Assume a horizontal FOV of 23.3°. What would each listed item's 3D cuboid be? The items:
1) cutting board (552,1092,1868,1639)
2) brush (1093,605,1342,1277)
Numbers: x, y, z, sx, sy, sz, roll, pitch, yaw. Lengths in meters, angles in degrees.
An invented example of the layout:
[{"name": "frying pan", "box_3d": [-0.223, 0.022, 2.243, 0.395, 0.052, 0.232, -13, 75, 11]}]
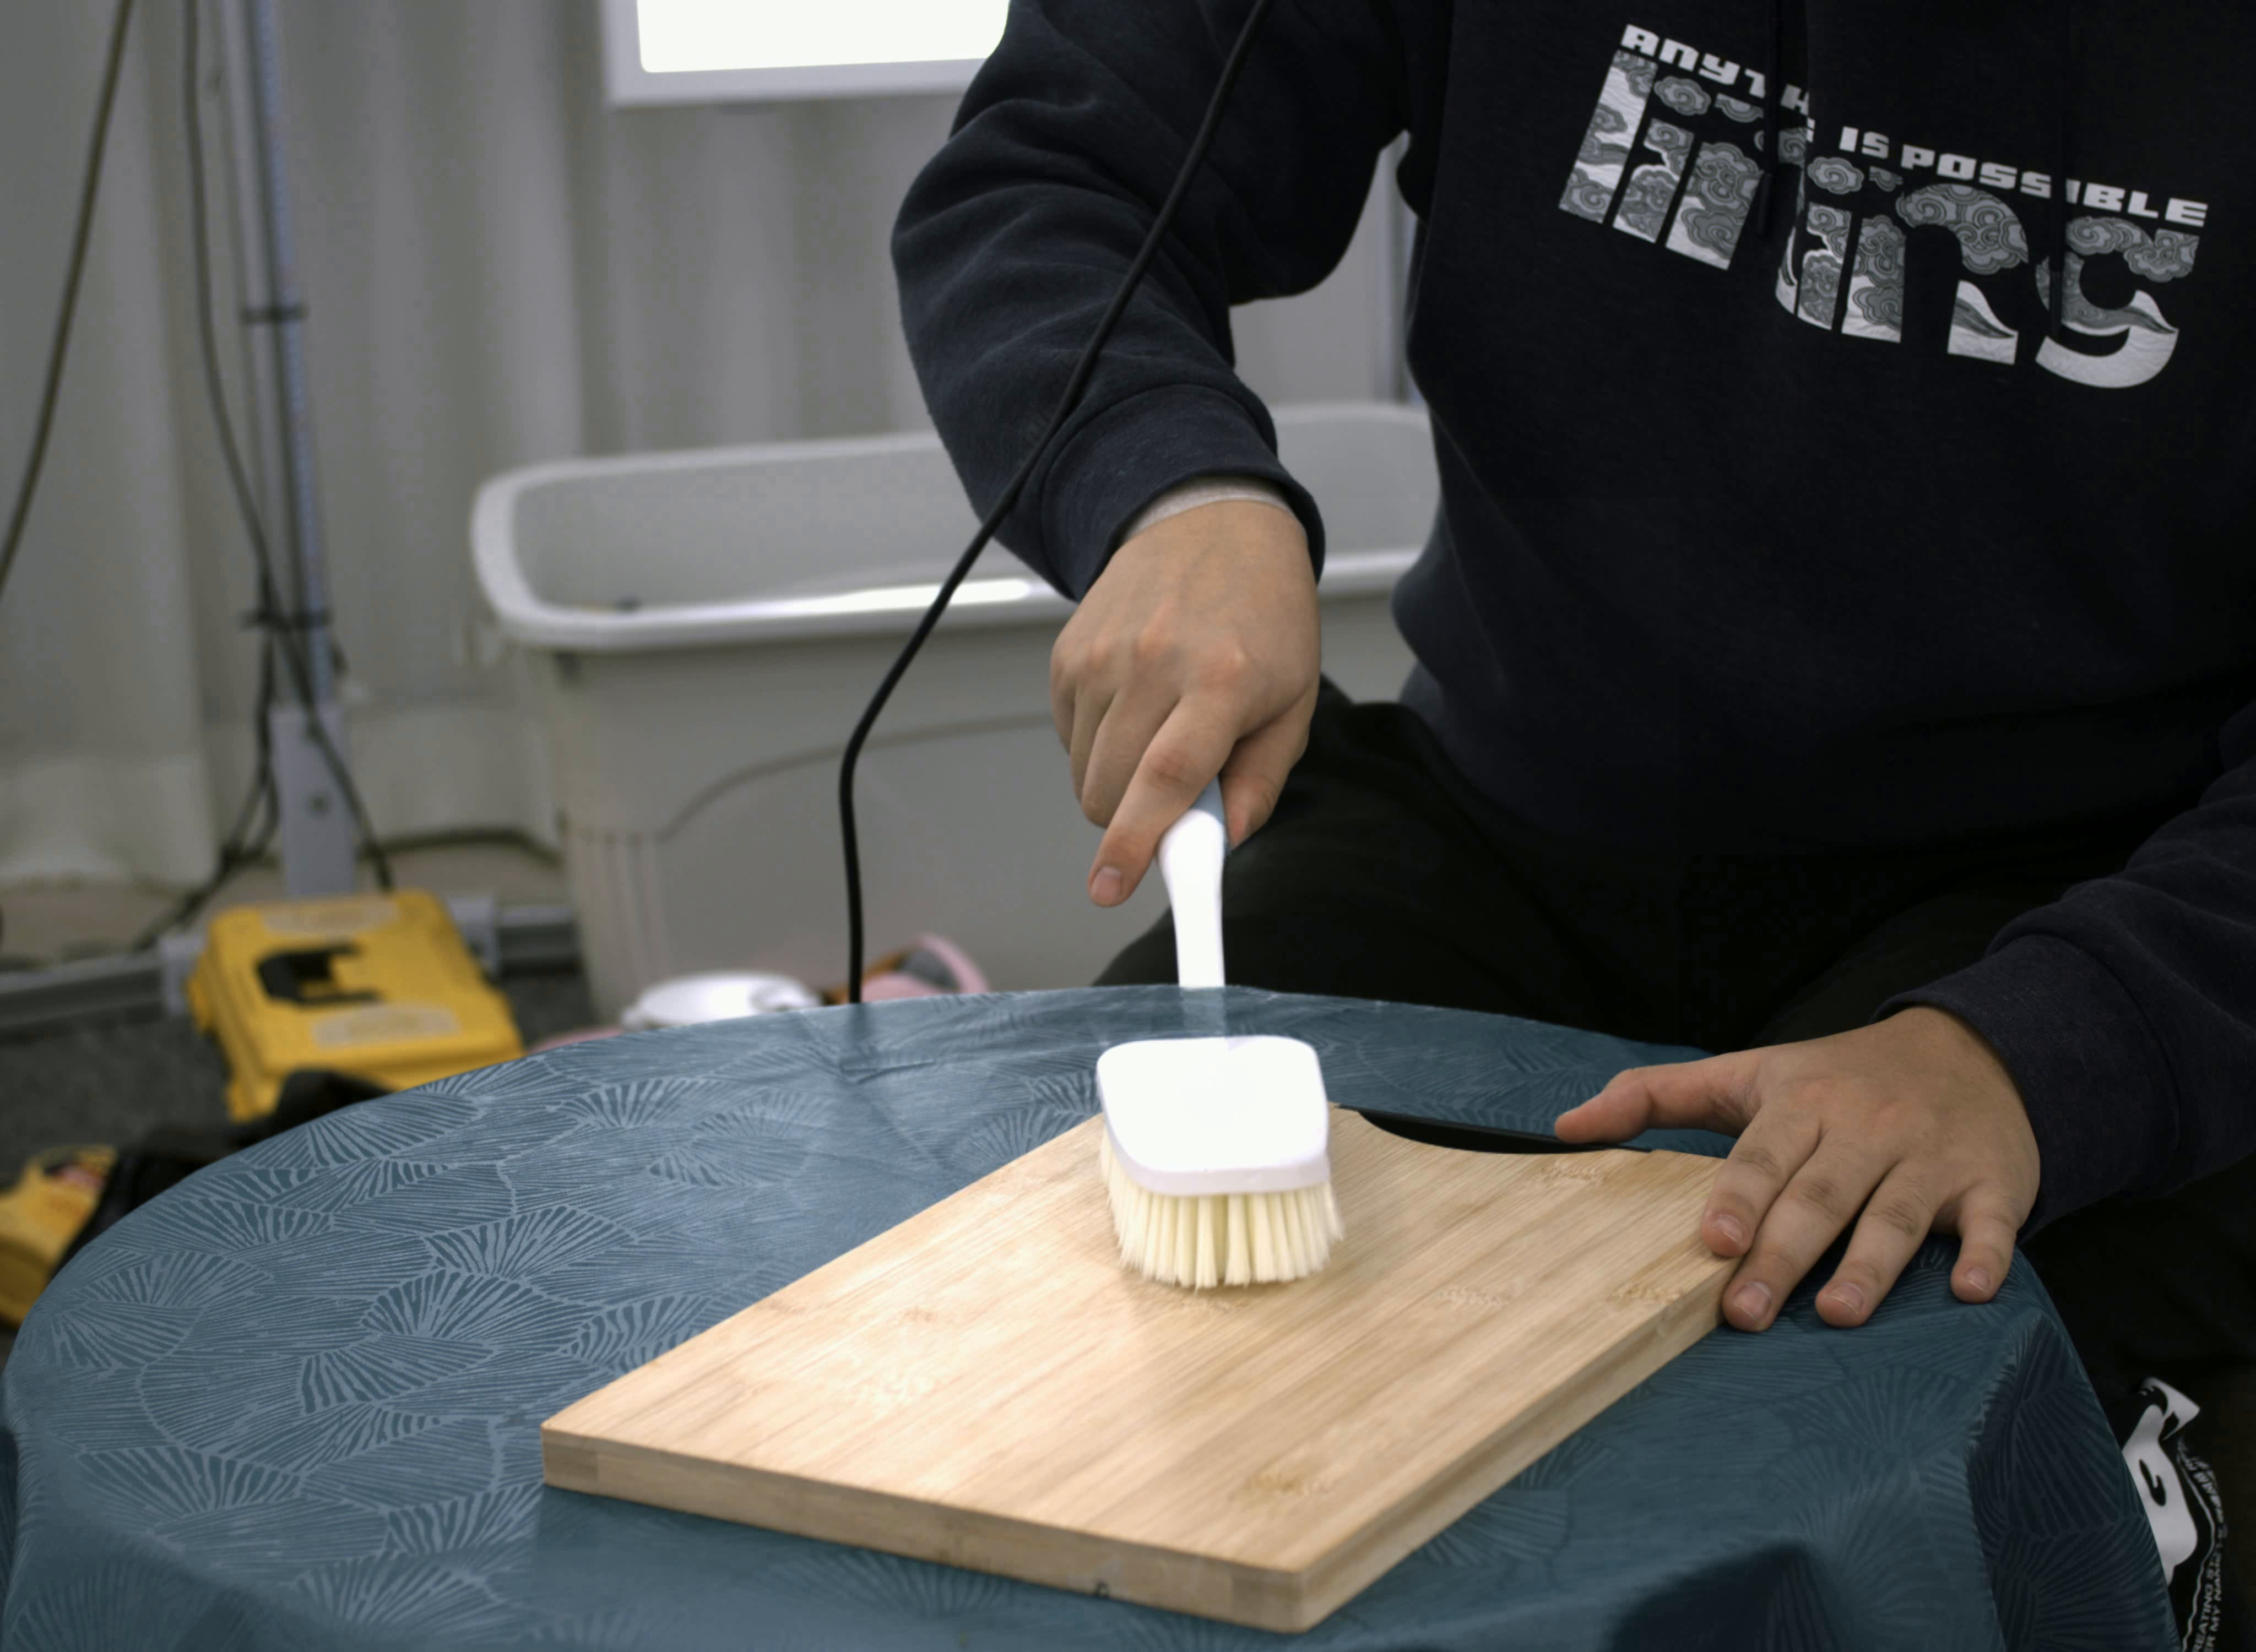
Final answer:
[{"name": "cutting board", "box_3d": [0.031, 0.143, 1.576, 0.251, 0.023, 0.349, 7, 18, 30]}, {"name": "brush", "box_3d": [0.024, 0.045, 1.709, 0.082, 0.084, 0.330, 26, 26, -19]}]
